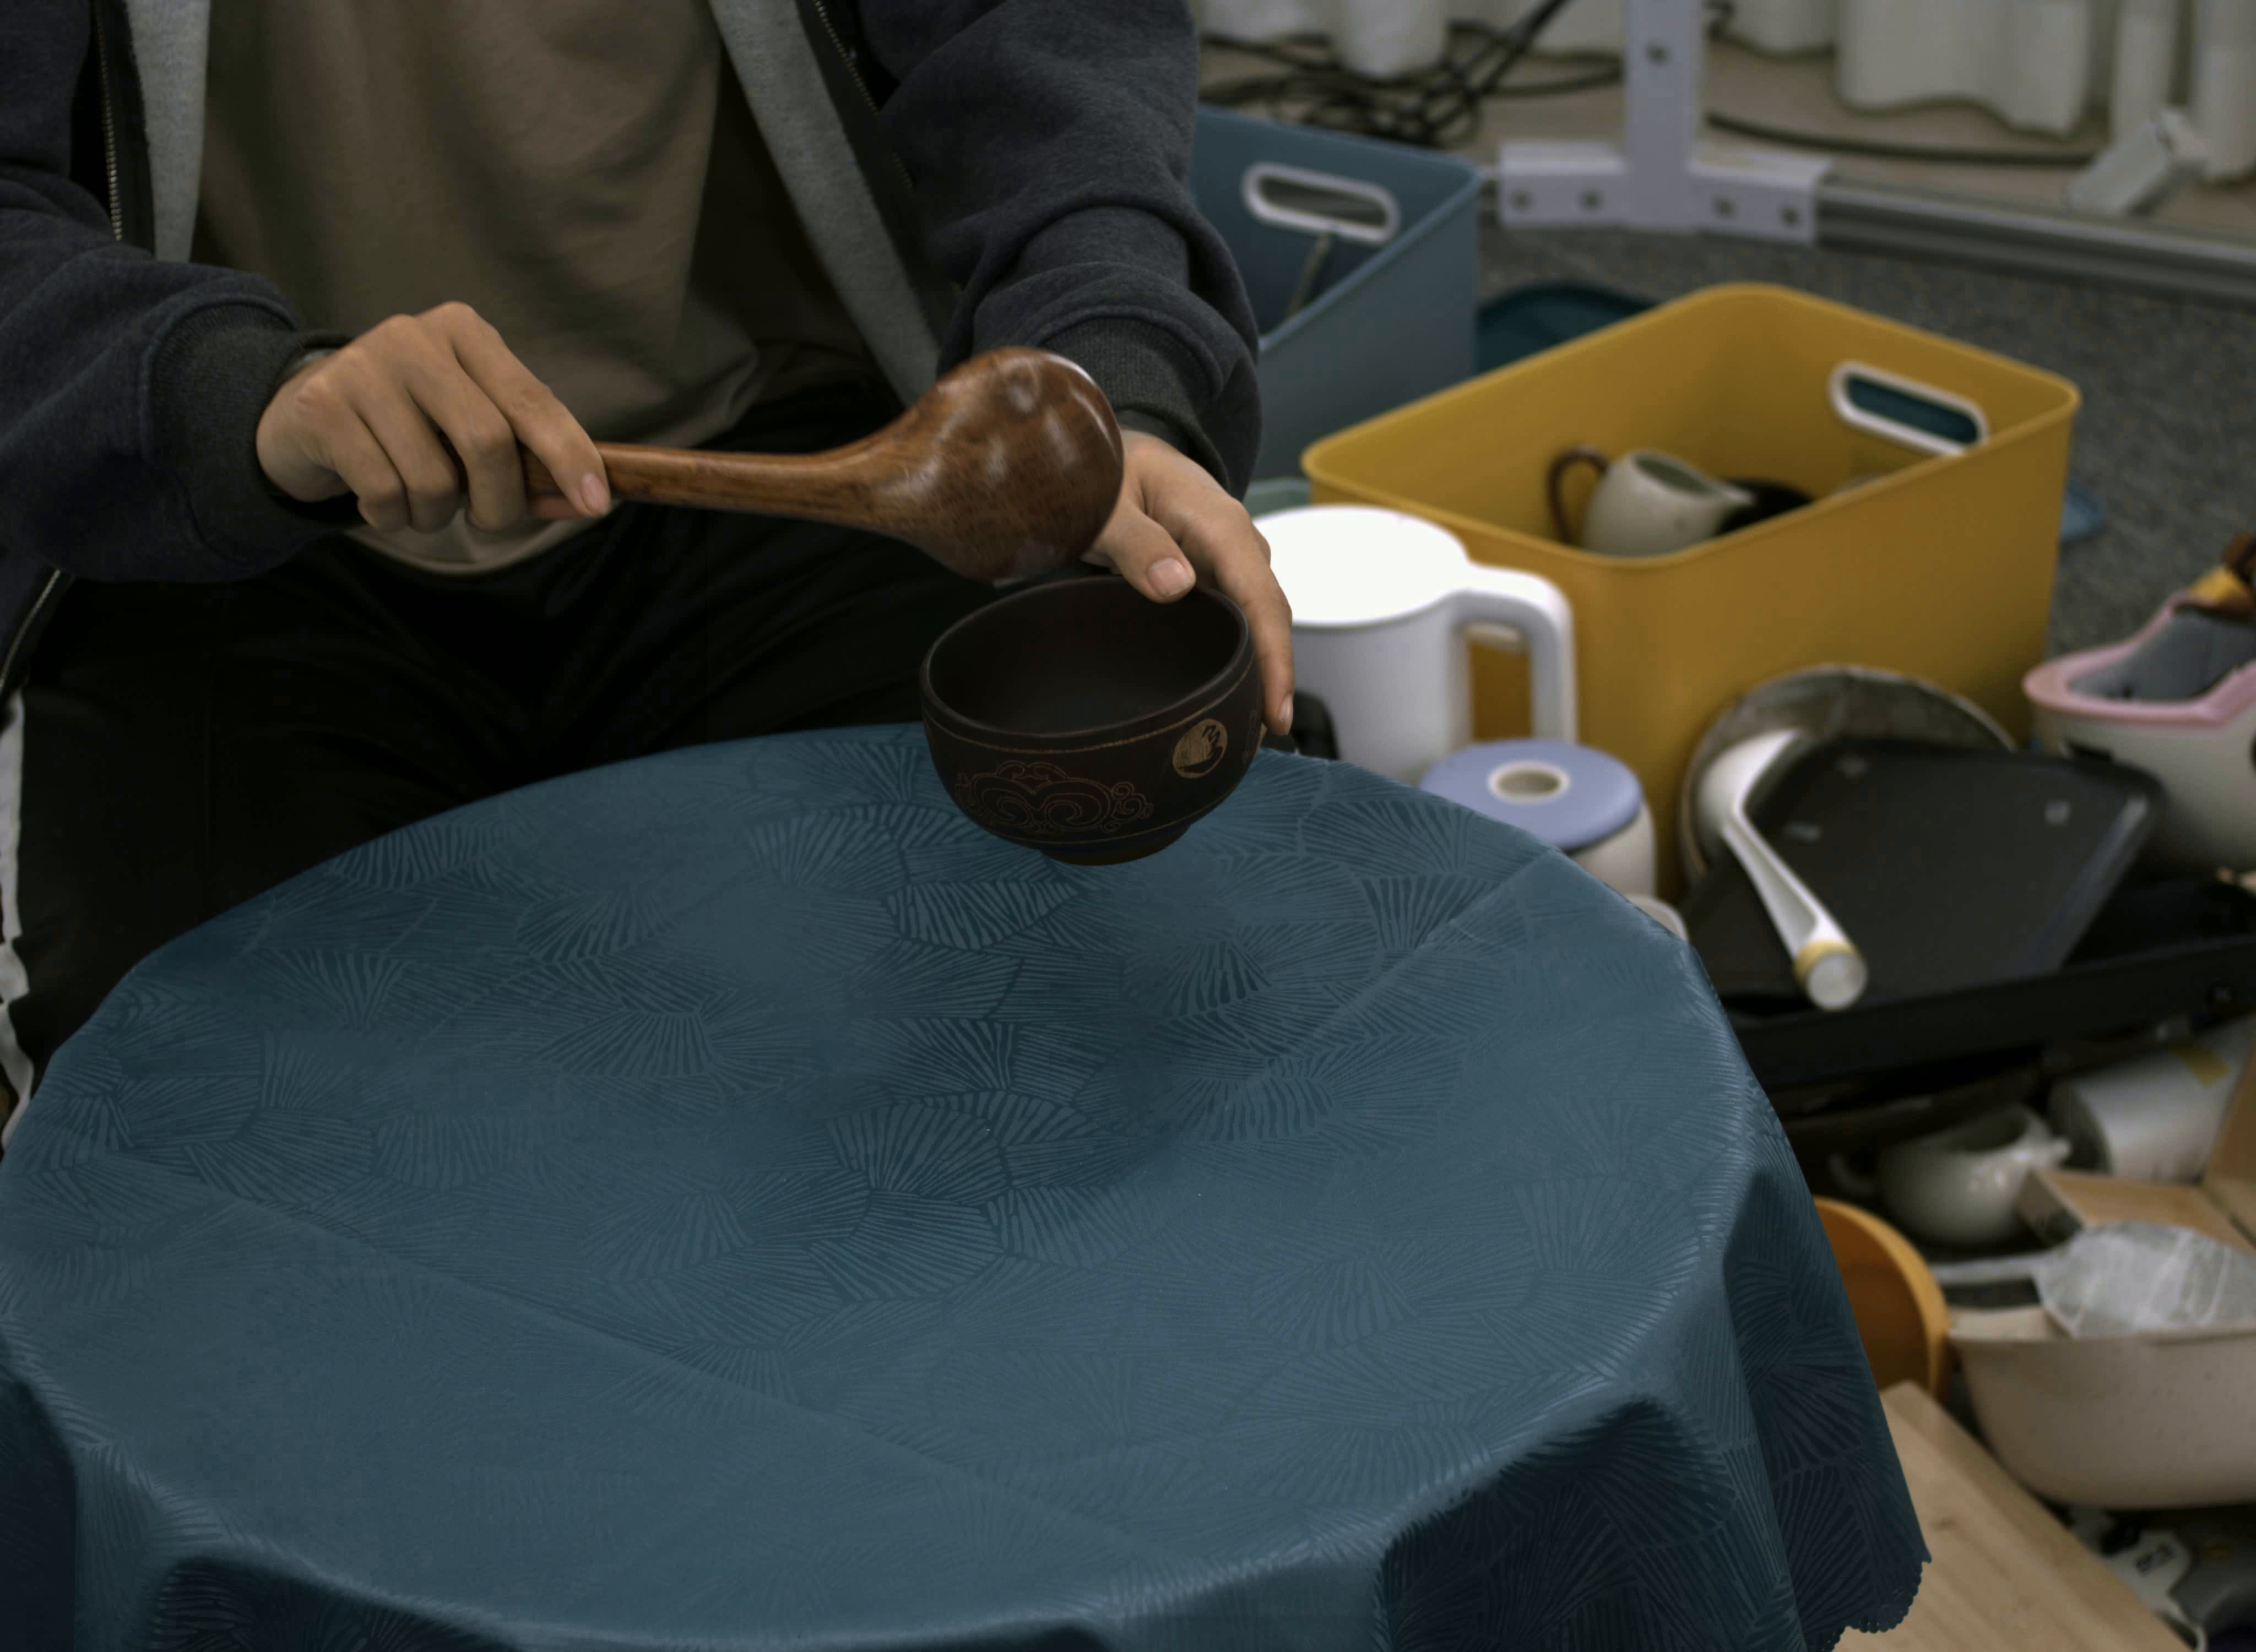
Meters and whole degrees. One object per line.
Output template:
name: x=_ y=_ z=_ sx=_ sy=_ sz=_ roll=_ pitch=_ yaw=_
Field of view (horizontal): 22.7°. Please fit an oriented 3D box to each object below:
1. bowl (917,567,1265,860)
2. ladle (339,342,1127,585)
bowl: x=-0.010 y=-0.032 z=1.921 sx=0.117 sy=0.069 sz=0.120 roll=-7 pitch=28 yaw=4
ladle: x=-0.133 y=-0.125 z=1.913 sx=0.272 sy=0.081 sz=0.077 roll=3 pitch=19 yaw=24
